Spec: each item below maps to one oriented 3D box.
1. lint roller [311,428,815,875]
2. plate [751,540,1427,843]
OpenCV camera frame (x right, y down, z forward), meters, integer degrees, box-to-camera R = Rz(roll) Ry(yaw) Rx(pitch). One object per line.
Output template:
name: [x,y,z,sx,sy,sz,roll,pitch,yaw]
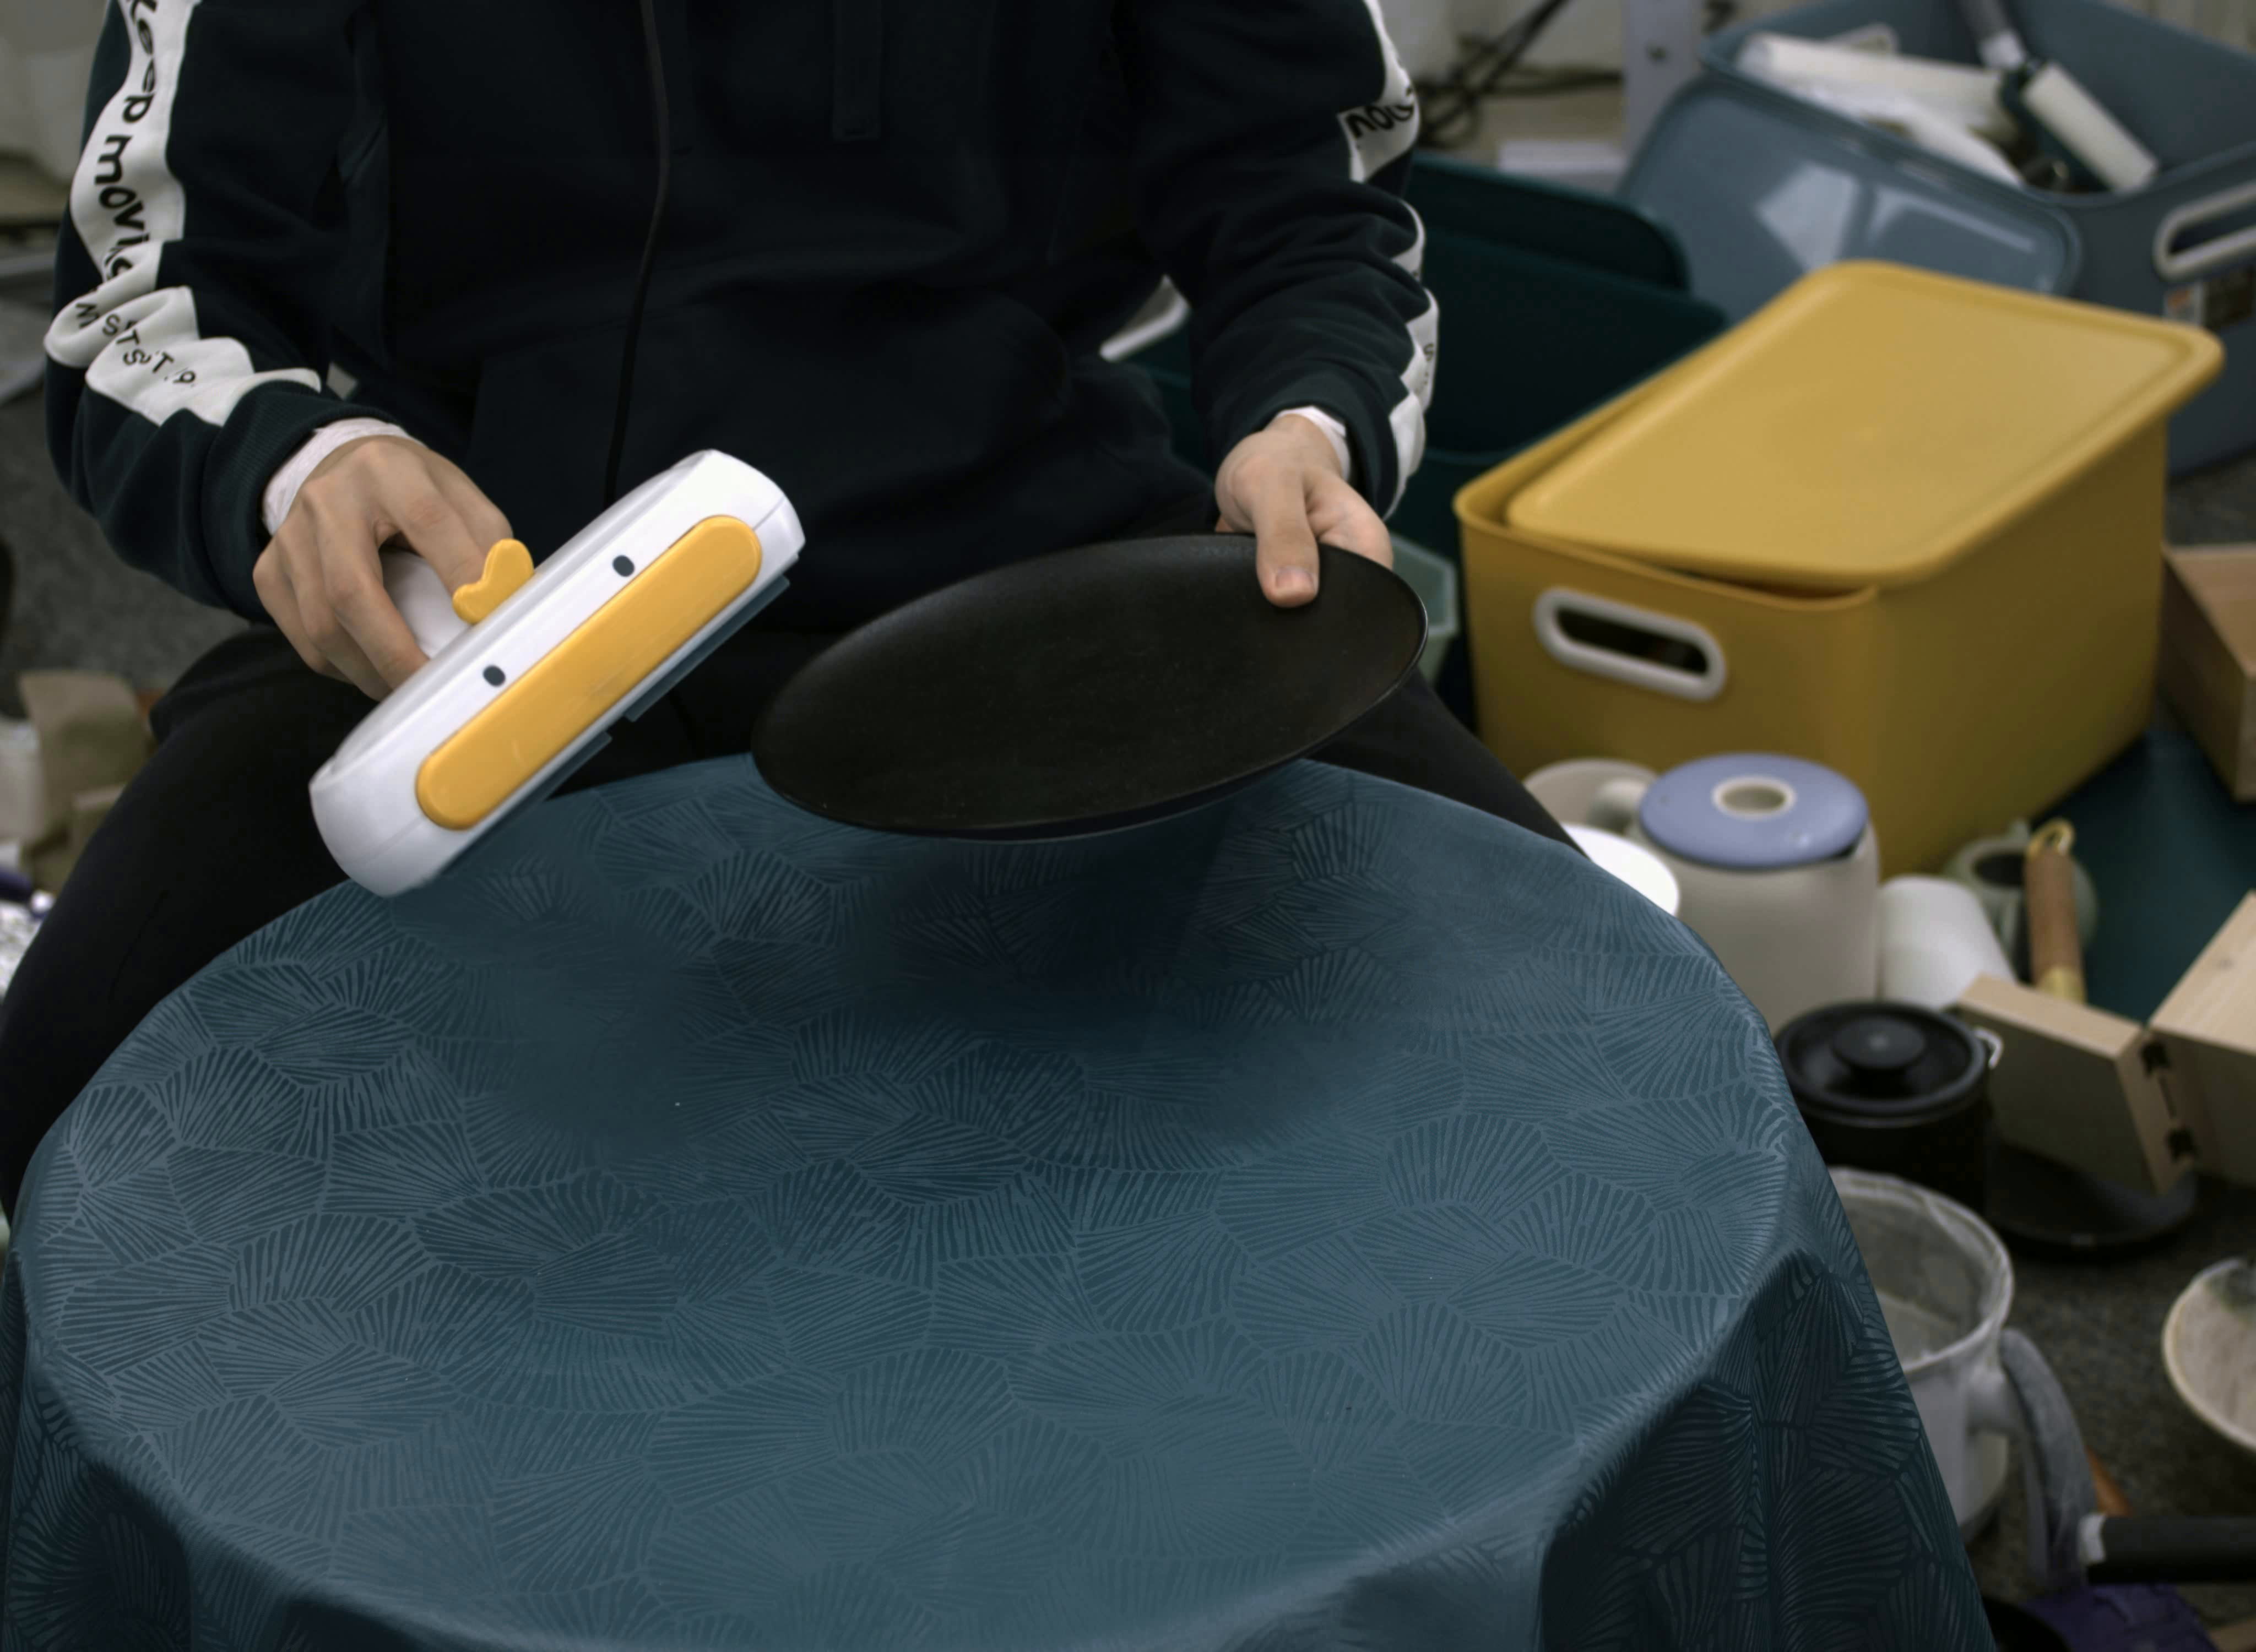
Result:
lint roller: [-0.217,-0.063,1.904,0.195,0.074,0.191,-47,22,-22]
plate: [-0.012,-0.044,1.987,0.243,0.023,0.248,-9,24,4]
